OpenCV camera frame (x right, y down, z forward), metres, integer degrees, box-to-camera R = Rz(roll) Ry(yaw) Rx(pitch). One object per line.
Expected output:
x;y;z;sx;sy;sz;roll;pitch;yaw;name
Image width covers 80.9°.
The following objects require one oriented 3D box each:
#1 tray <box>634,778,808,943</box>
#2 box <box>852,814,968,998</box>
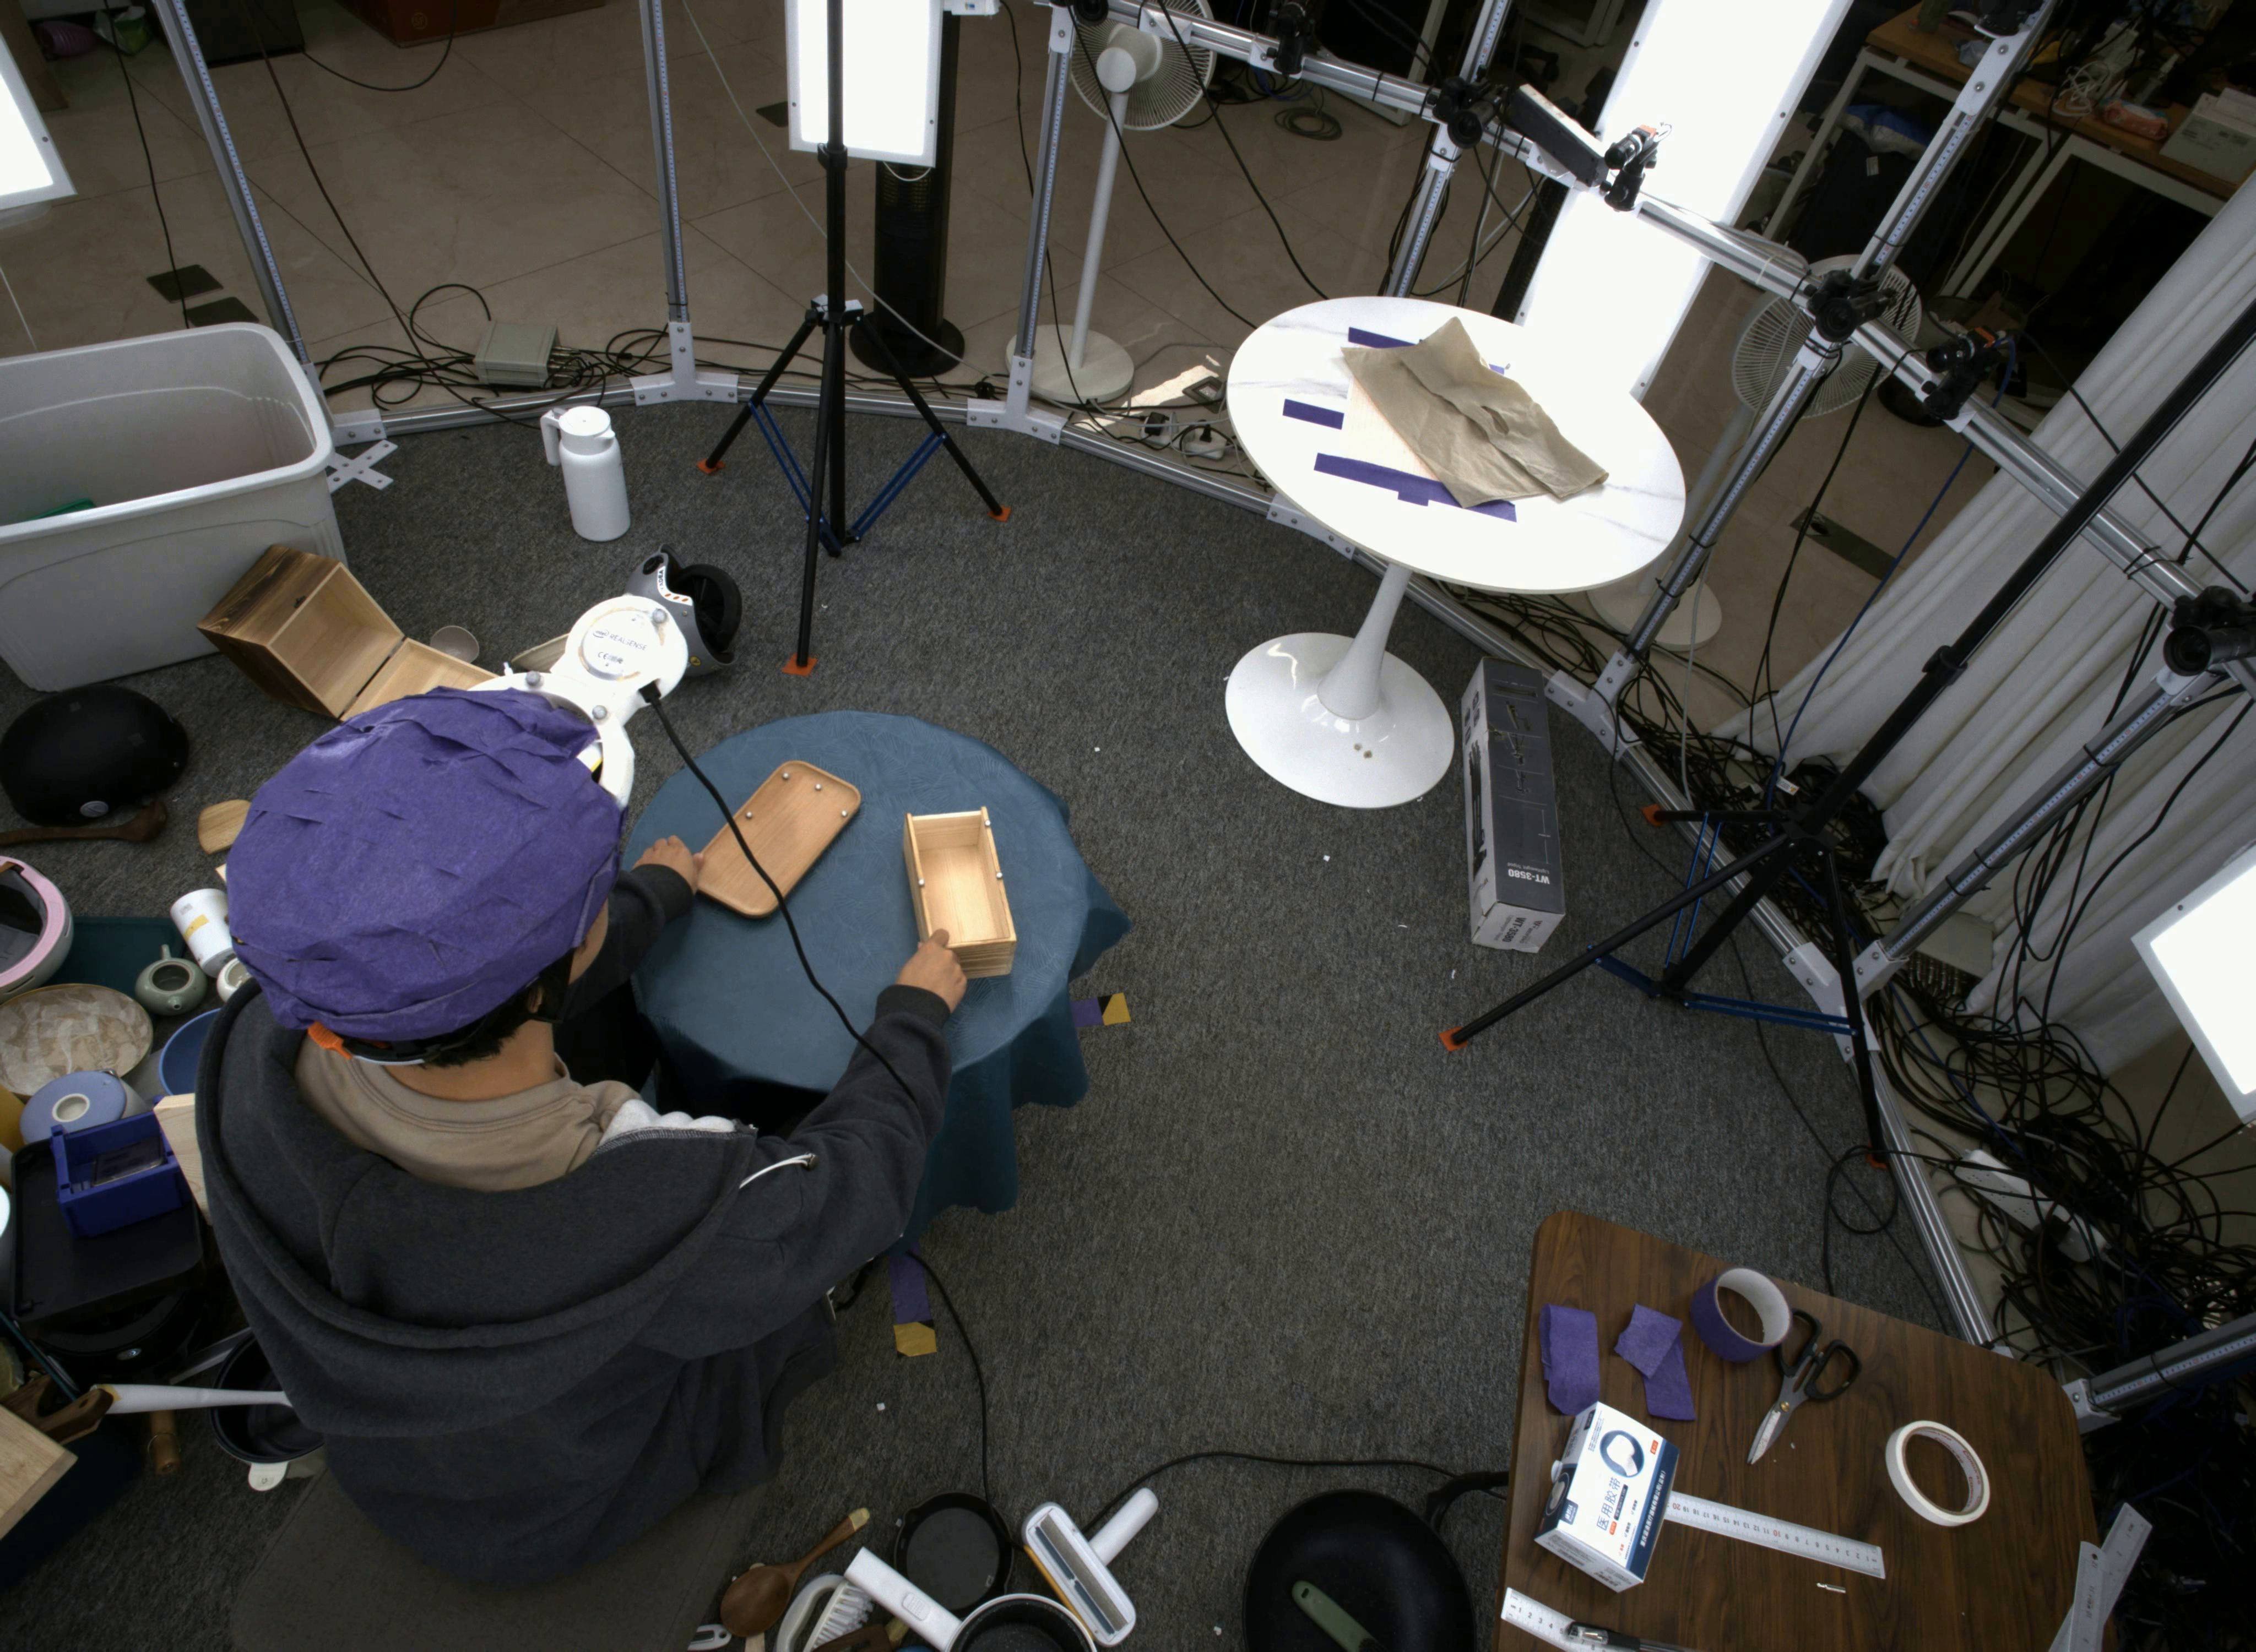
-0.520;0.040;1.660;0.128;0.023;0.249;22;51;6;tray
-0.278;0.097;1.643;0.108;0.082;0.206;-8;56;-19;box
